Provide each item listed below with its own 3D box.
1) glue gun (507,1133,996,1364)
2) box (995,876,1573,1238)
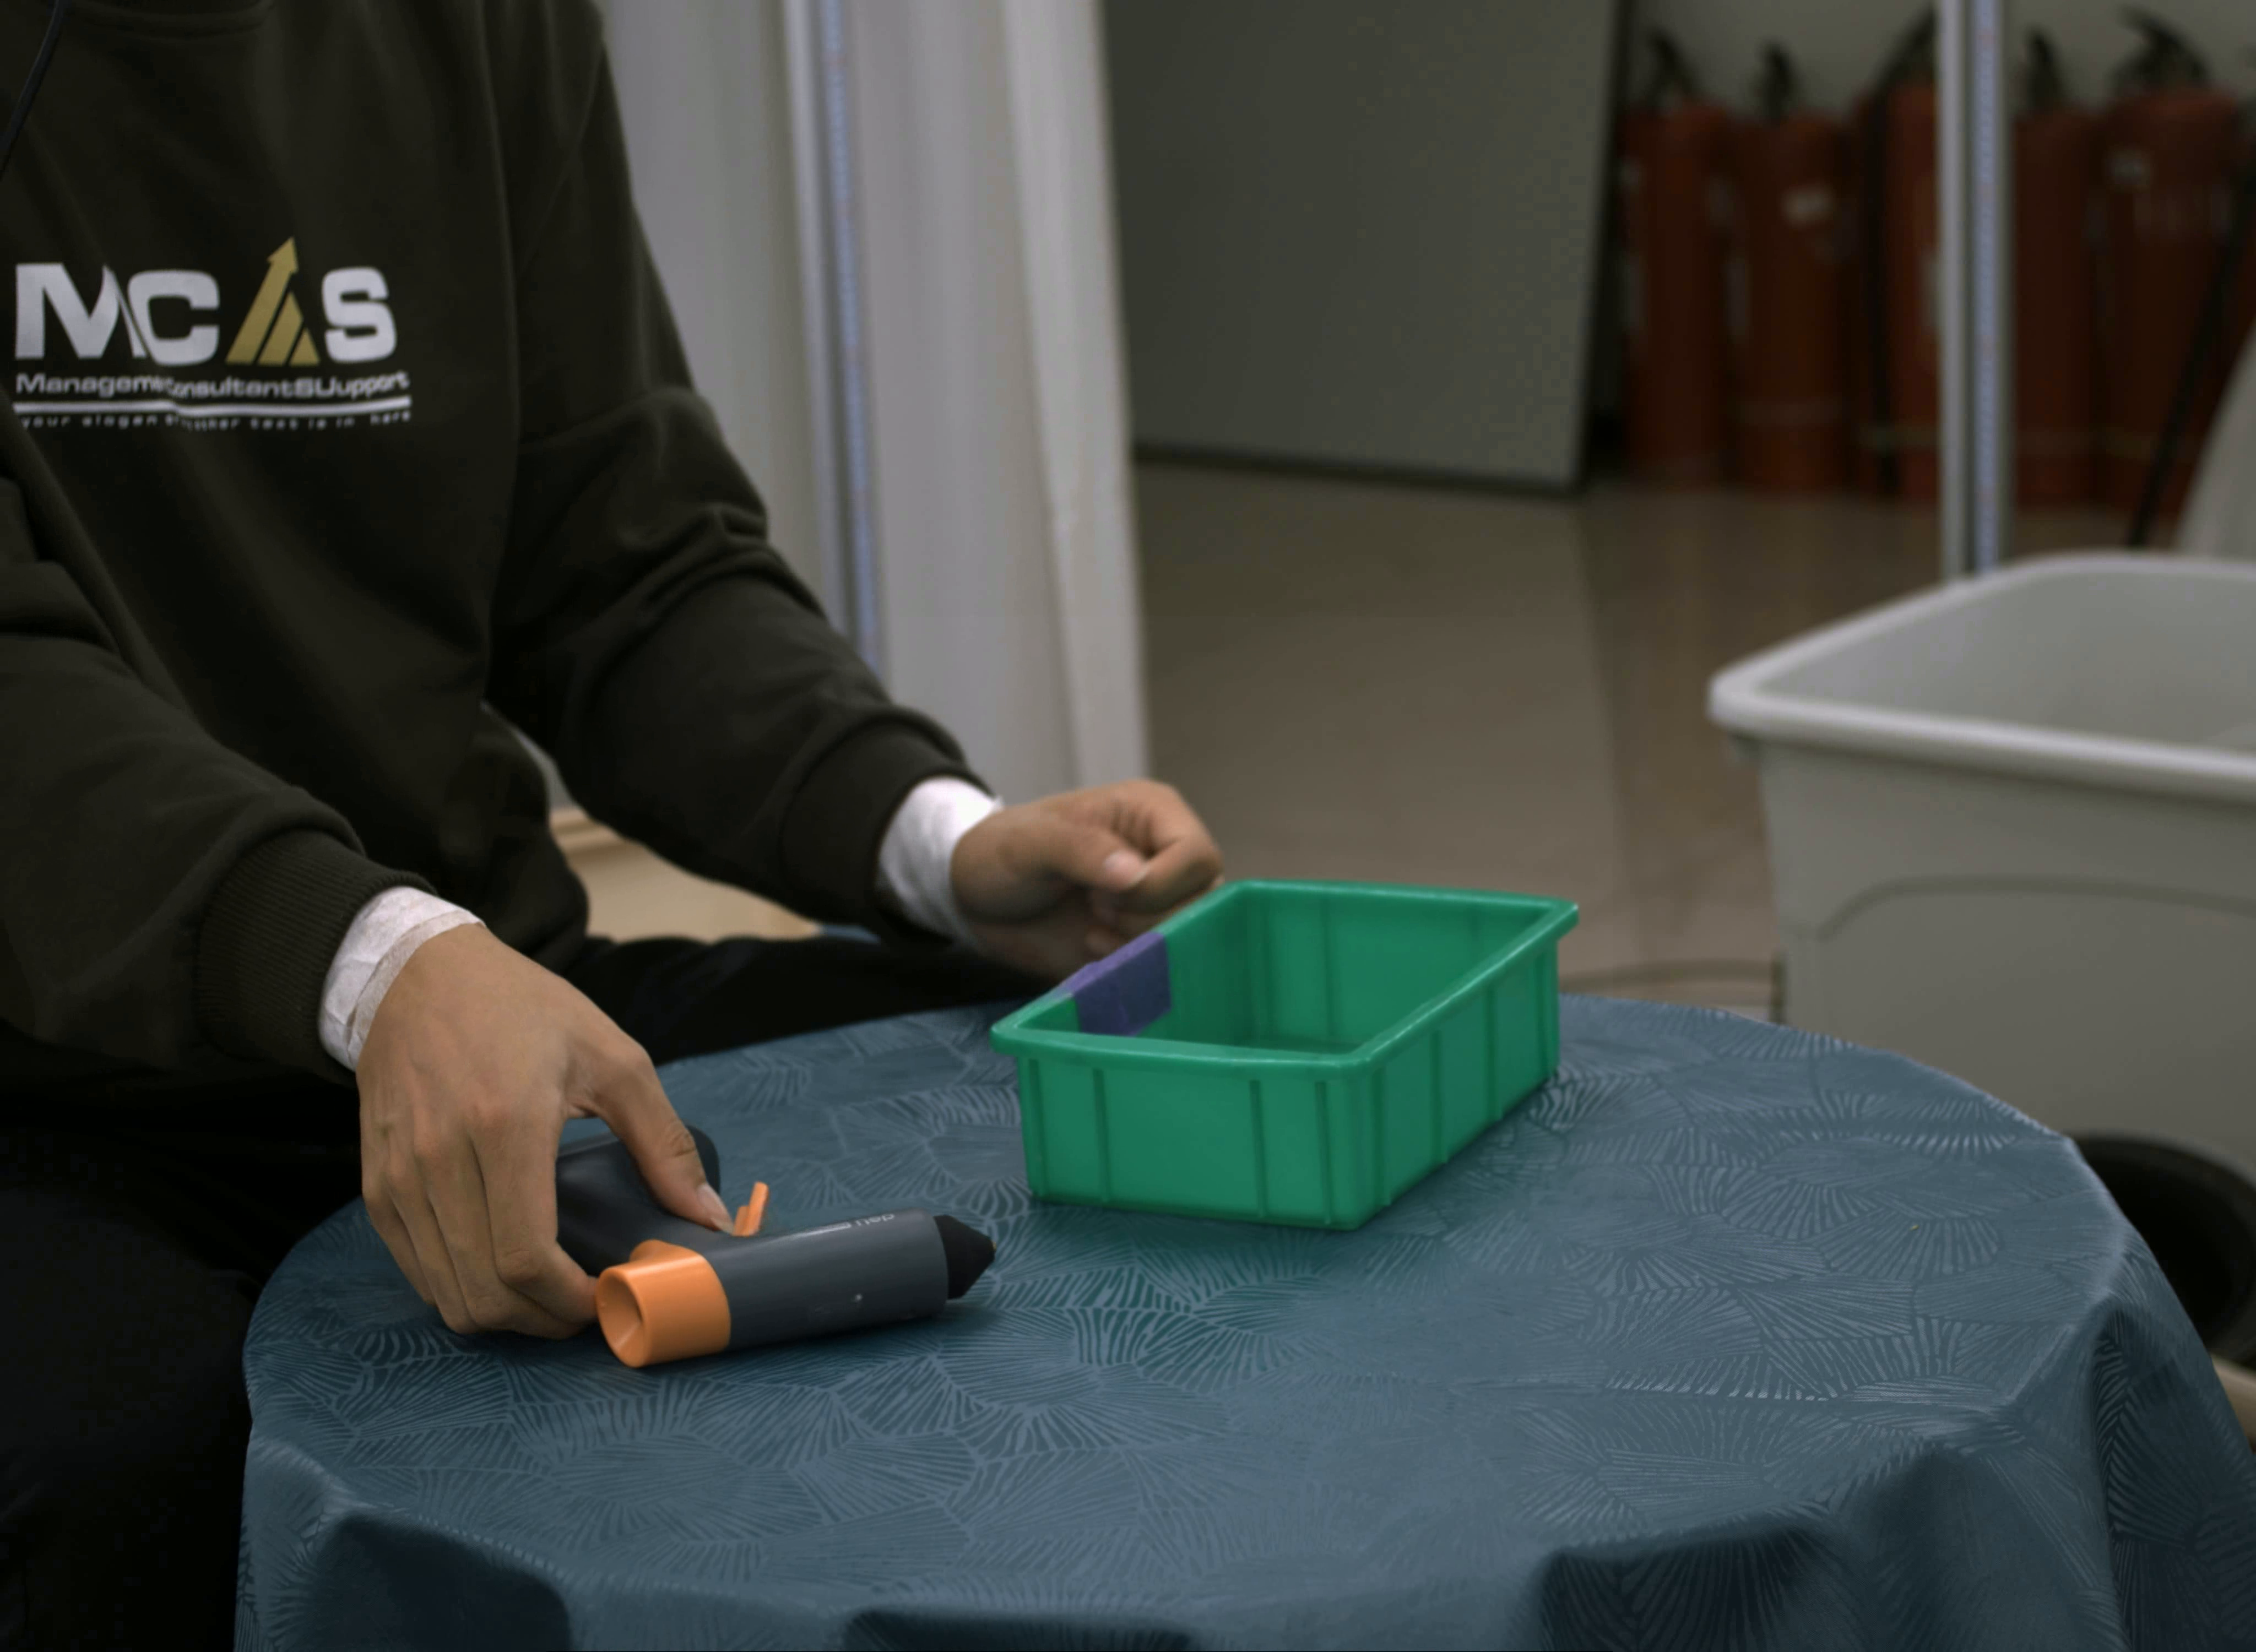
[{"bbox_3d":[-0.123,0.135,1.695,0.115,0.041,0.141,-8,16,-36],"label":"glue gun"},{"bbox_3d":[0.057,0.076,1.815,0.139,0.066,0.208,2,17,26],"label":"box"}]
